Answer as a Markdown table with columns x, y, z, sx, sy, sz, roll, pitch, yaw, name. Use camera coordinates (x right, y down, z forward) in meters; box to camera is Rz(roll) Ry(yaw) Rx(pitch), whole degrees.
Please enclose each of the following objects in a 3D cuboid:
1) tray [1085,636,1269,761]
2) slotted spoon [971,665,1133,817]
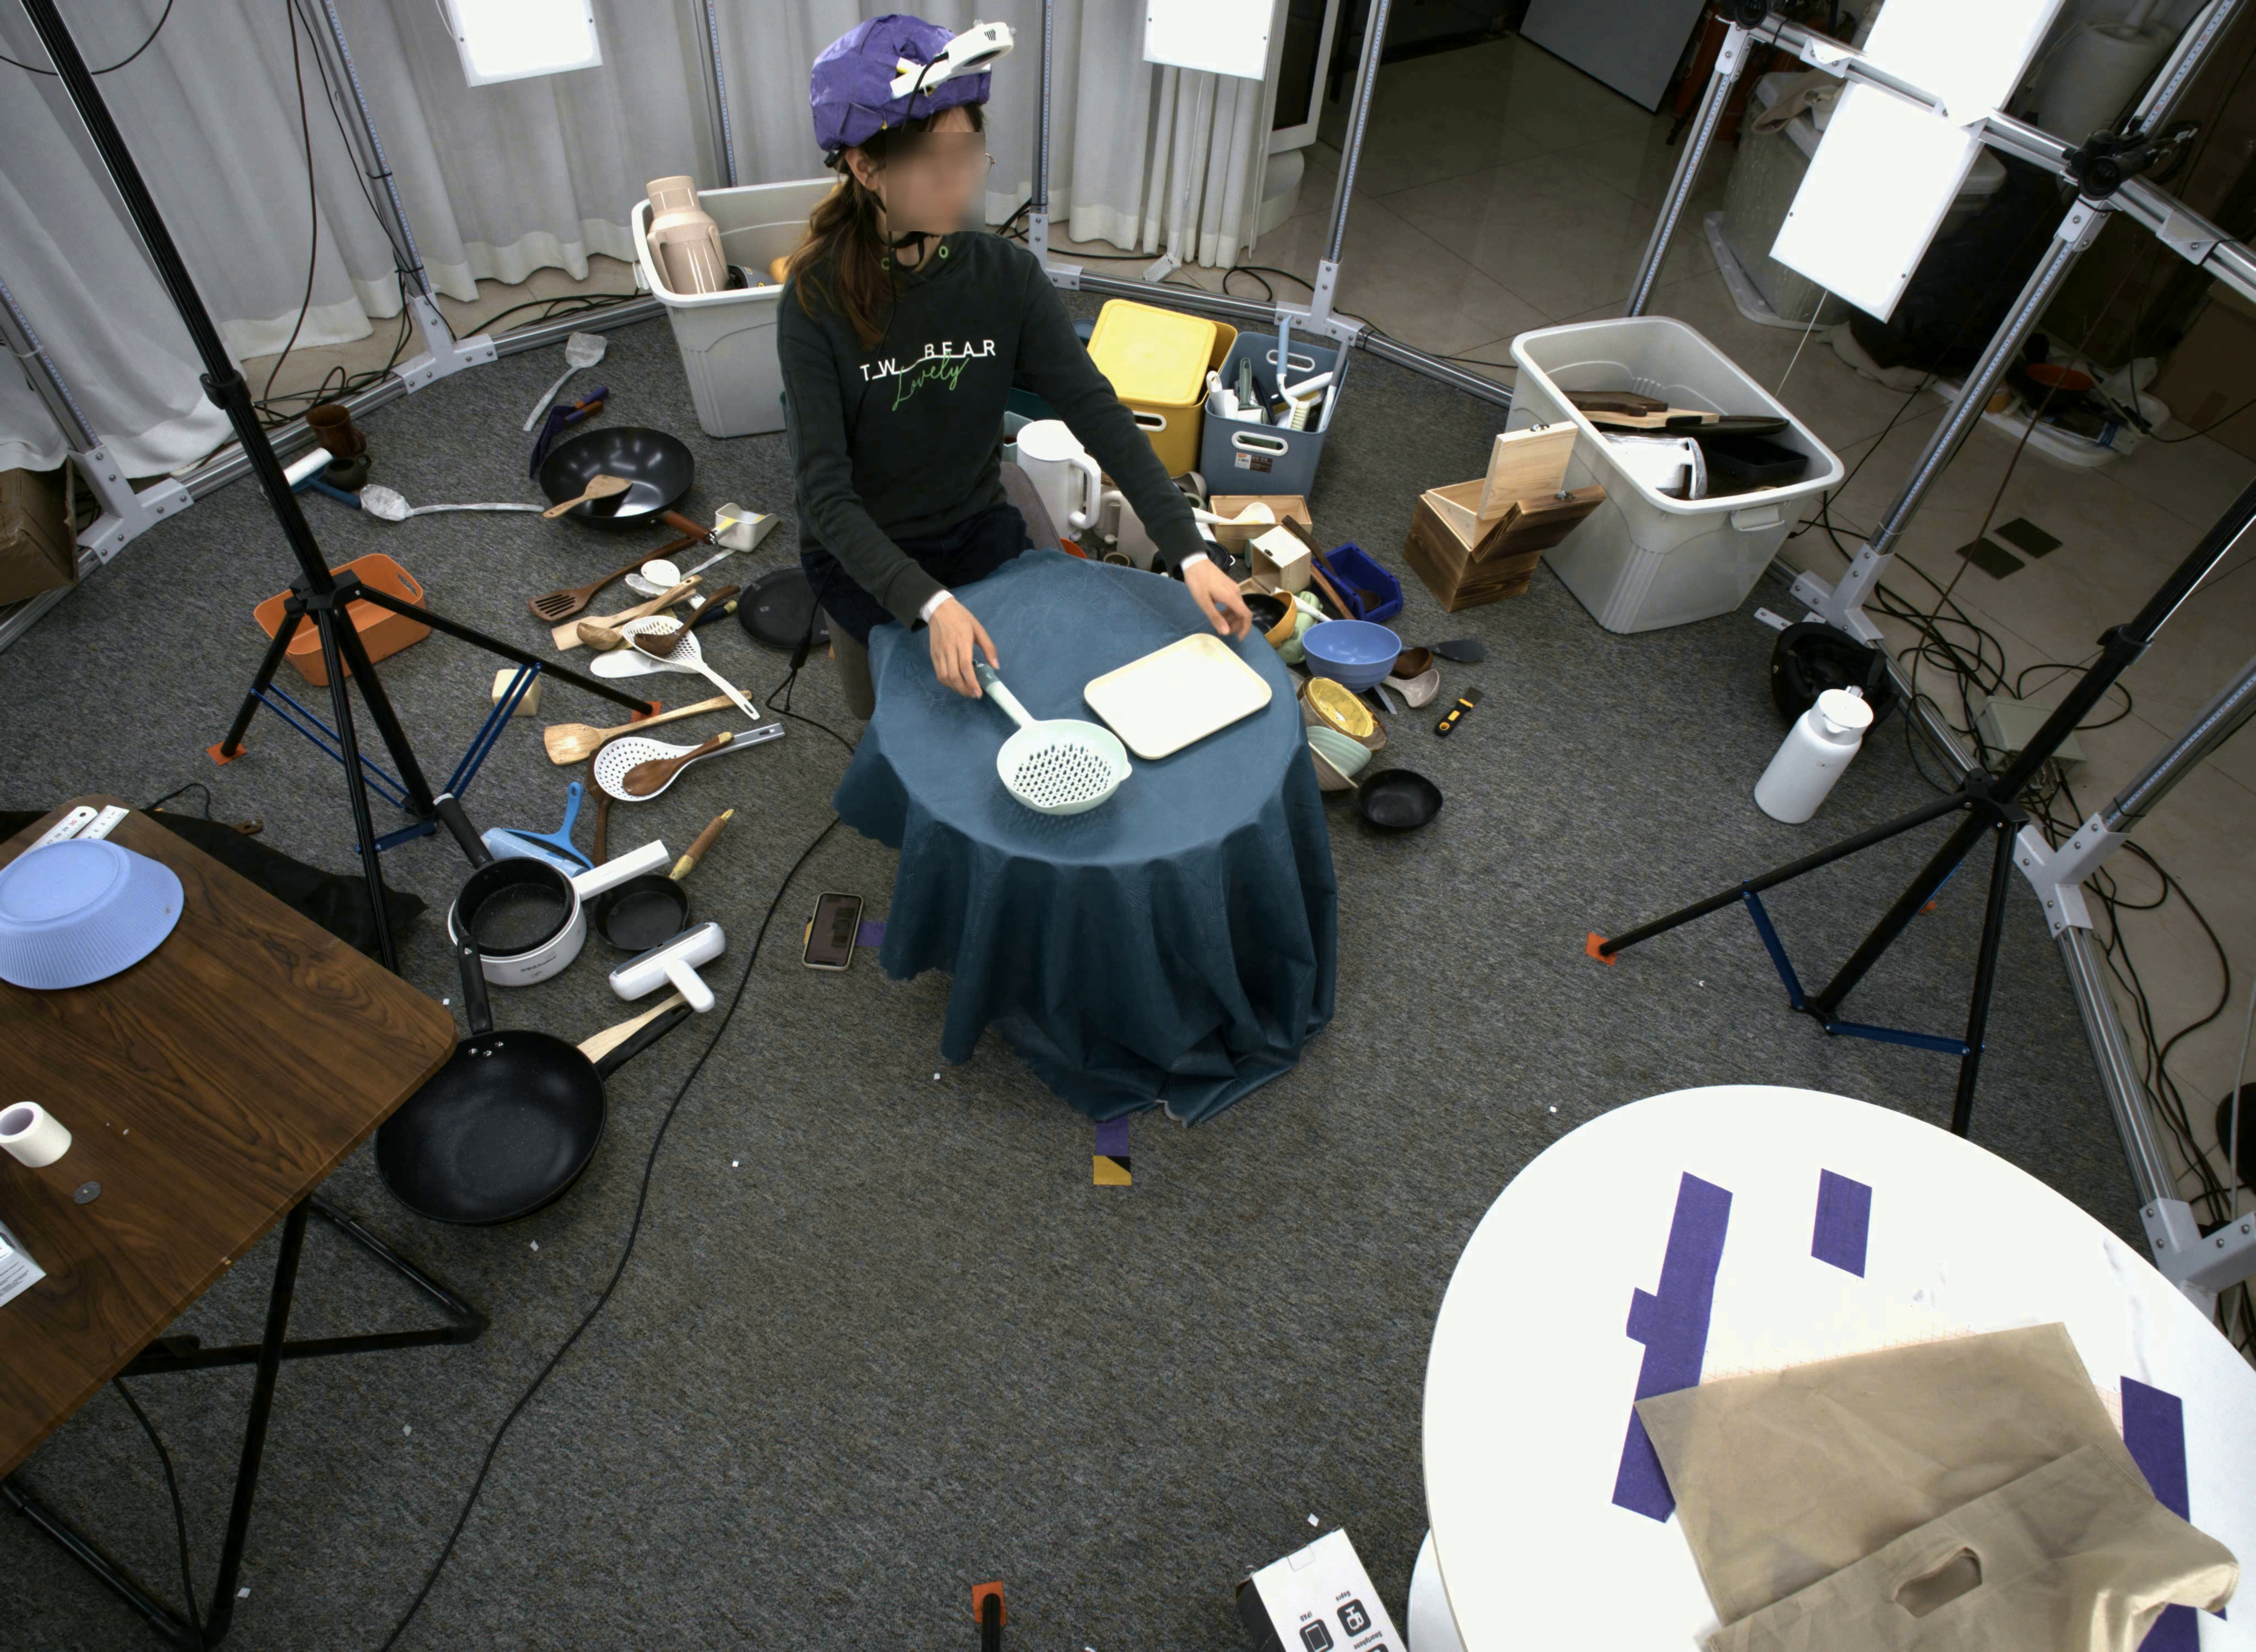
| x | y | z | sx | sy | sz | roll | pitch | yaw | name |
| --- | --- | --- | --- | --- | --- | --- | --- | --- | --- |
| 0.070 | -0.184 | 1.839 | 0.241 | 0.017 | 0.174 | -27 | 56 | -26 | tray |
| -0.134 | -0.133 | 1.749 | 0.170 | 0.073 | 0.366 | -21 | 53 | -22 | slotted spoon |
